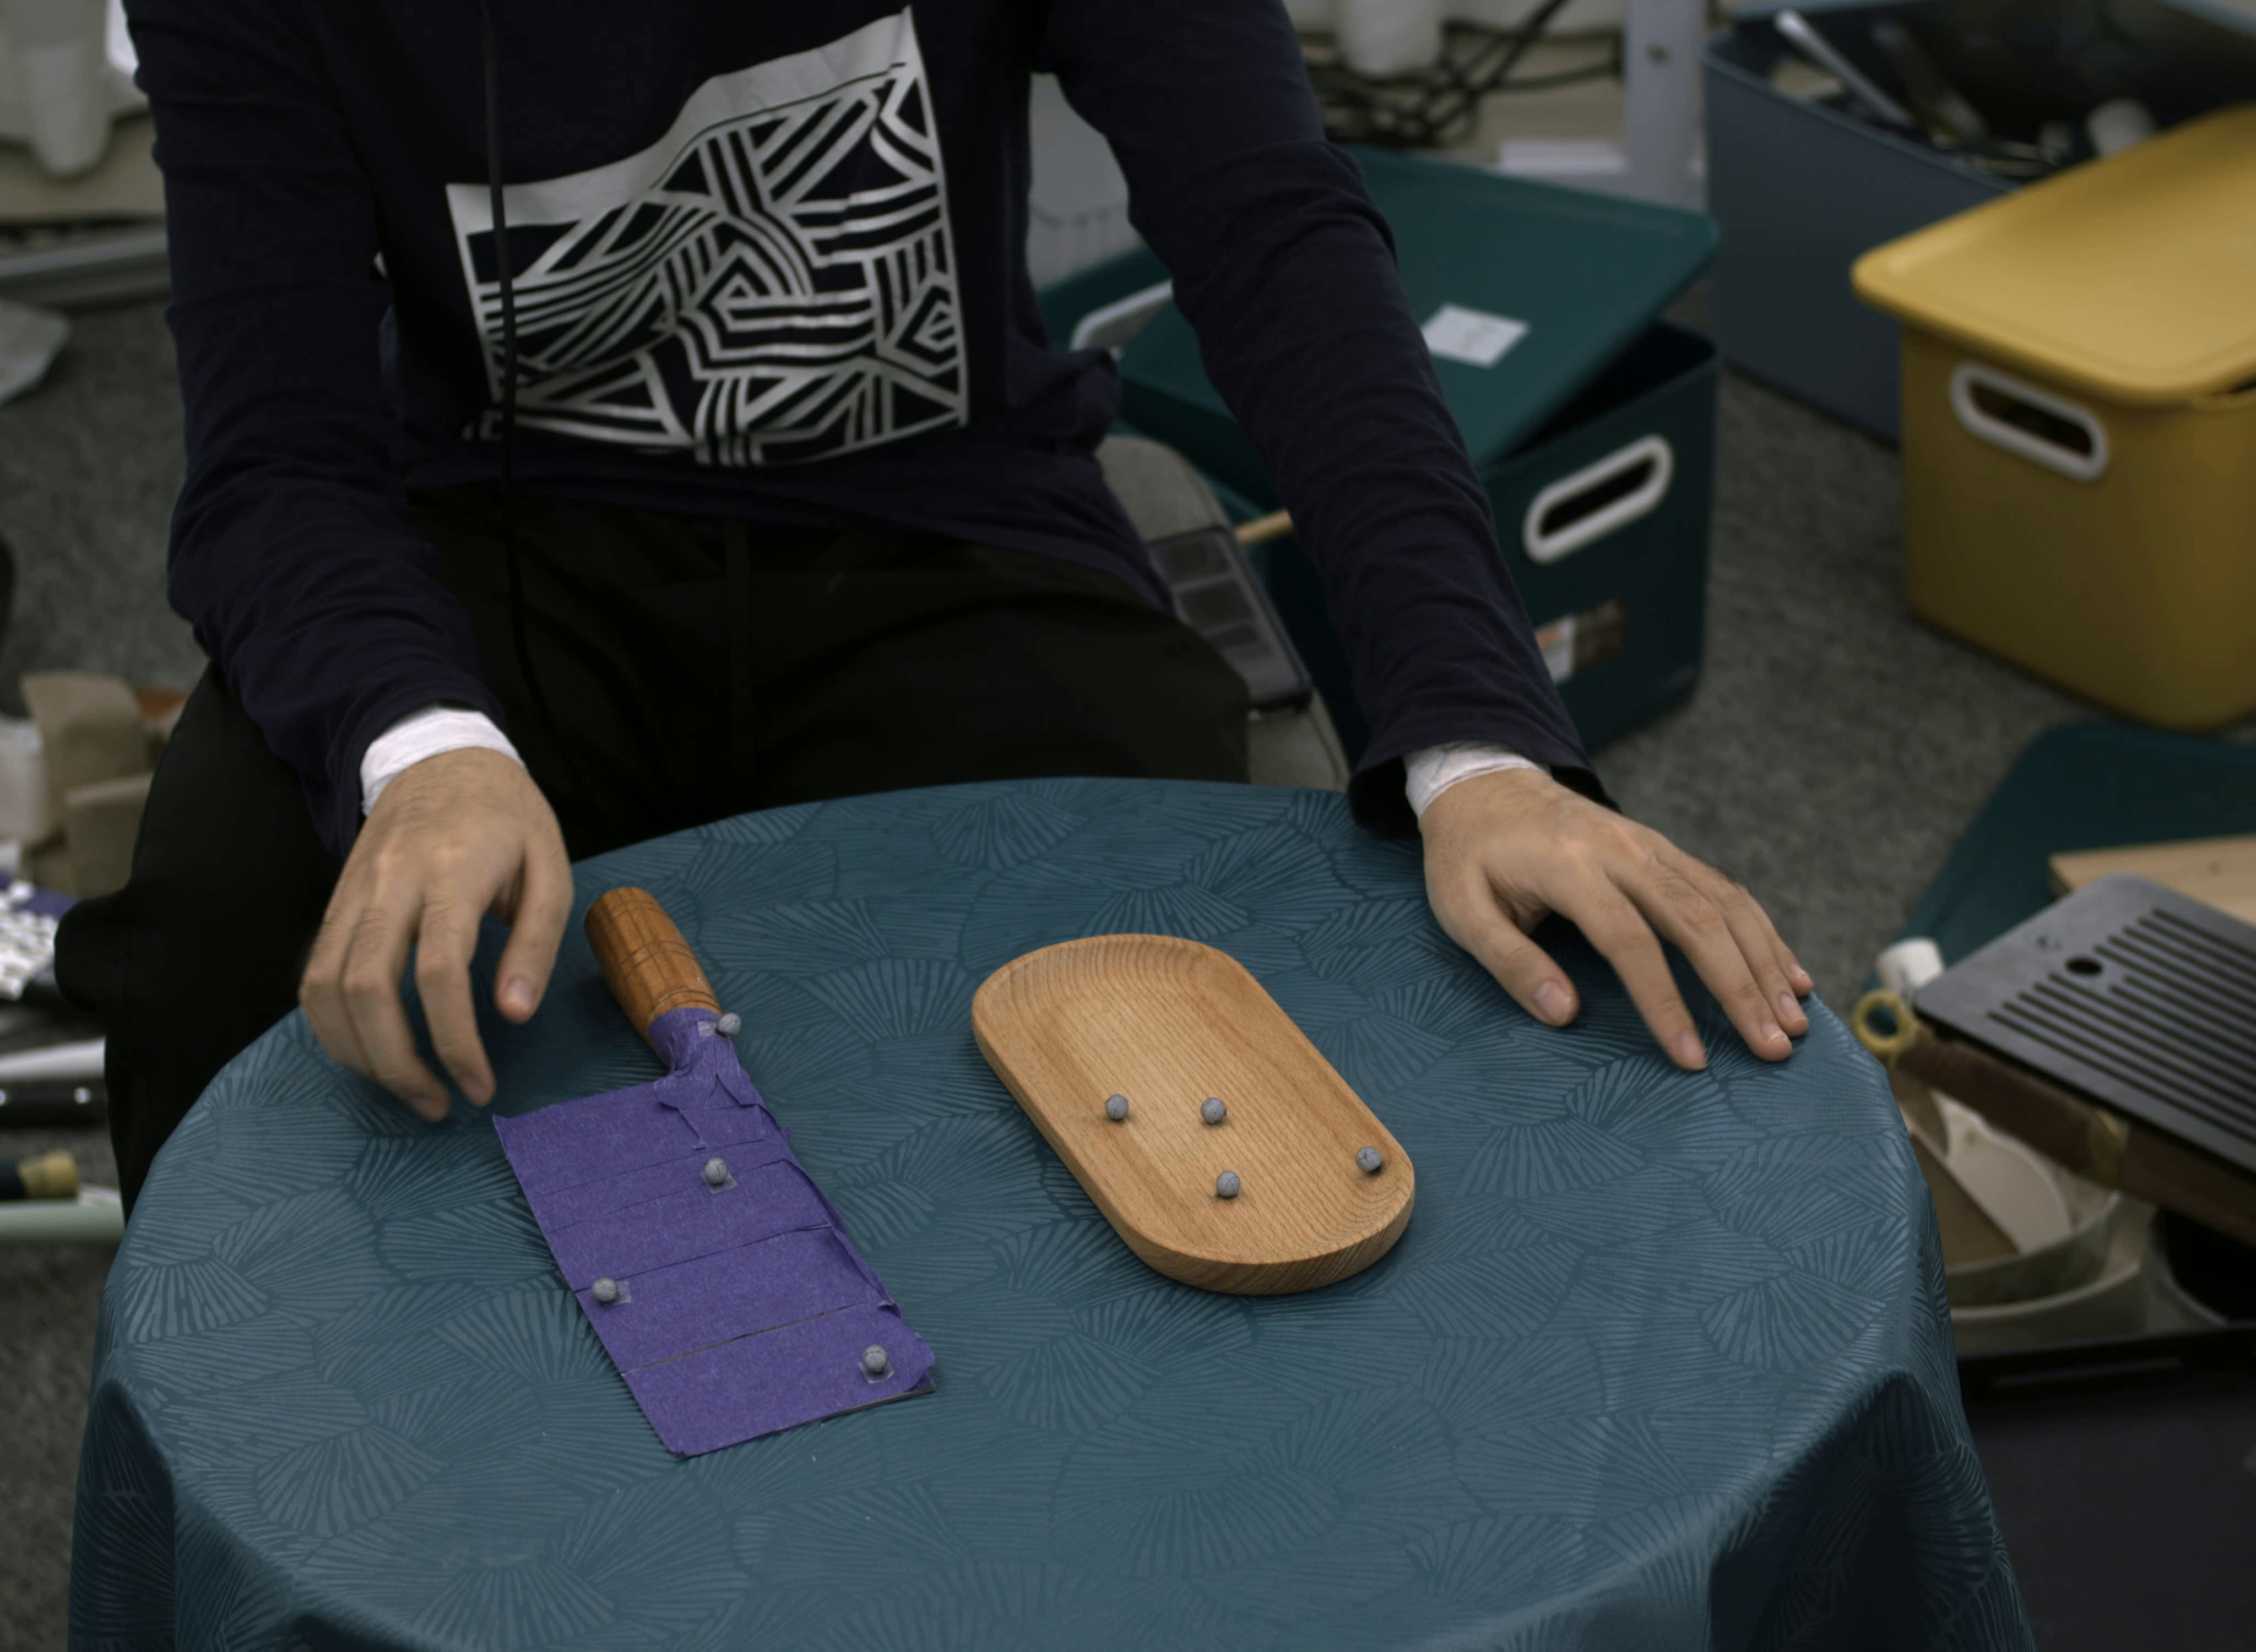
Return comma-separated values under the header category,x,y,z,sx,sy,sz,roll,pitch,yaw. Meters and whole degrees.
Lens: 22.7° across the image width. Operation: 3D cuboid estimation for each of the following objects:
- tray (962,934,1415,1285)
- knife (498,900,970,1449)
category,x,y,z,sx,sy,sz,roll,pitch,yaw
tray,0.018,0.094,1.897,0.102,0.020,0.232,-12,27,-19
knife,-0.154,0.111,1.867,0.104,0.032,0.317,-12,29,-19
